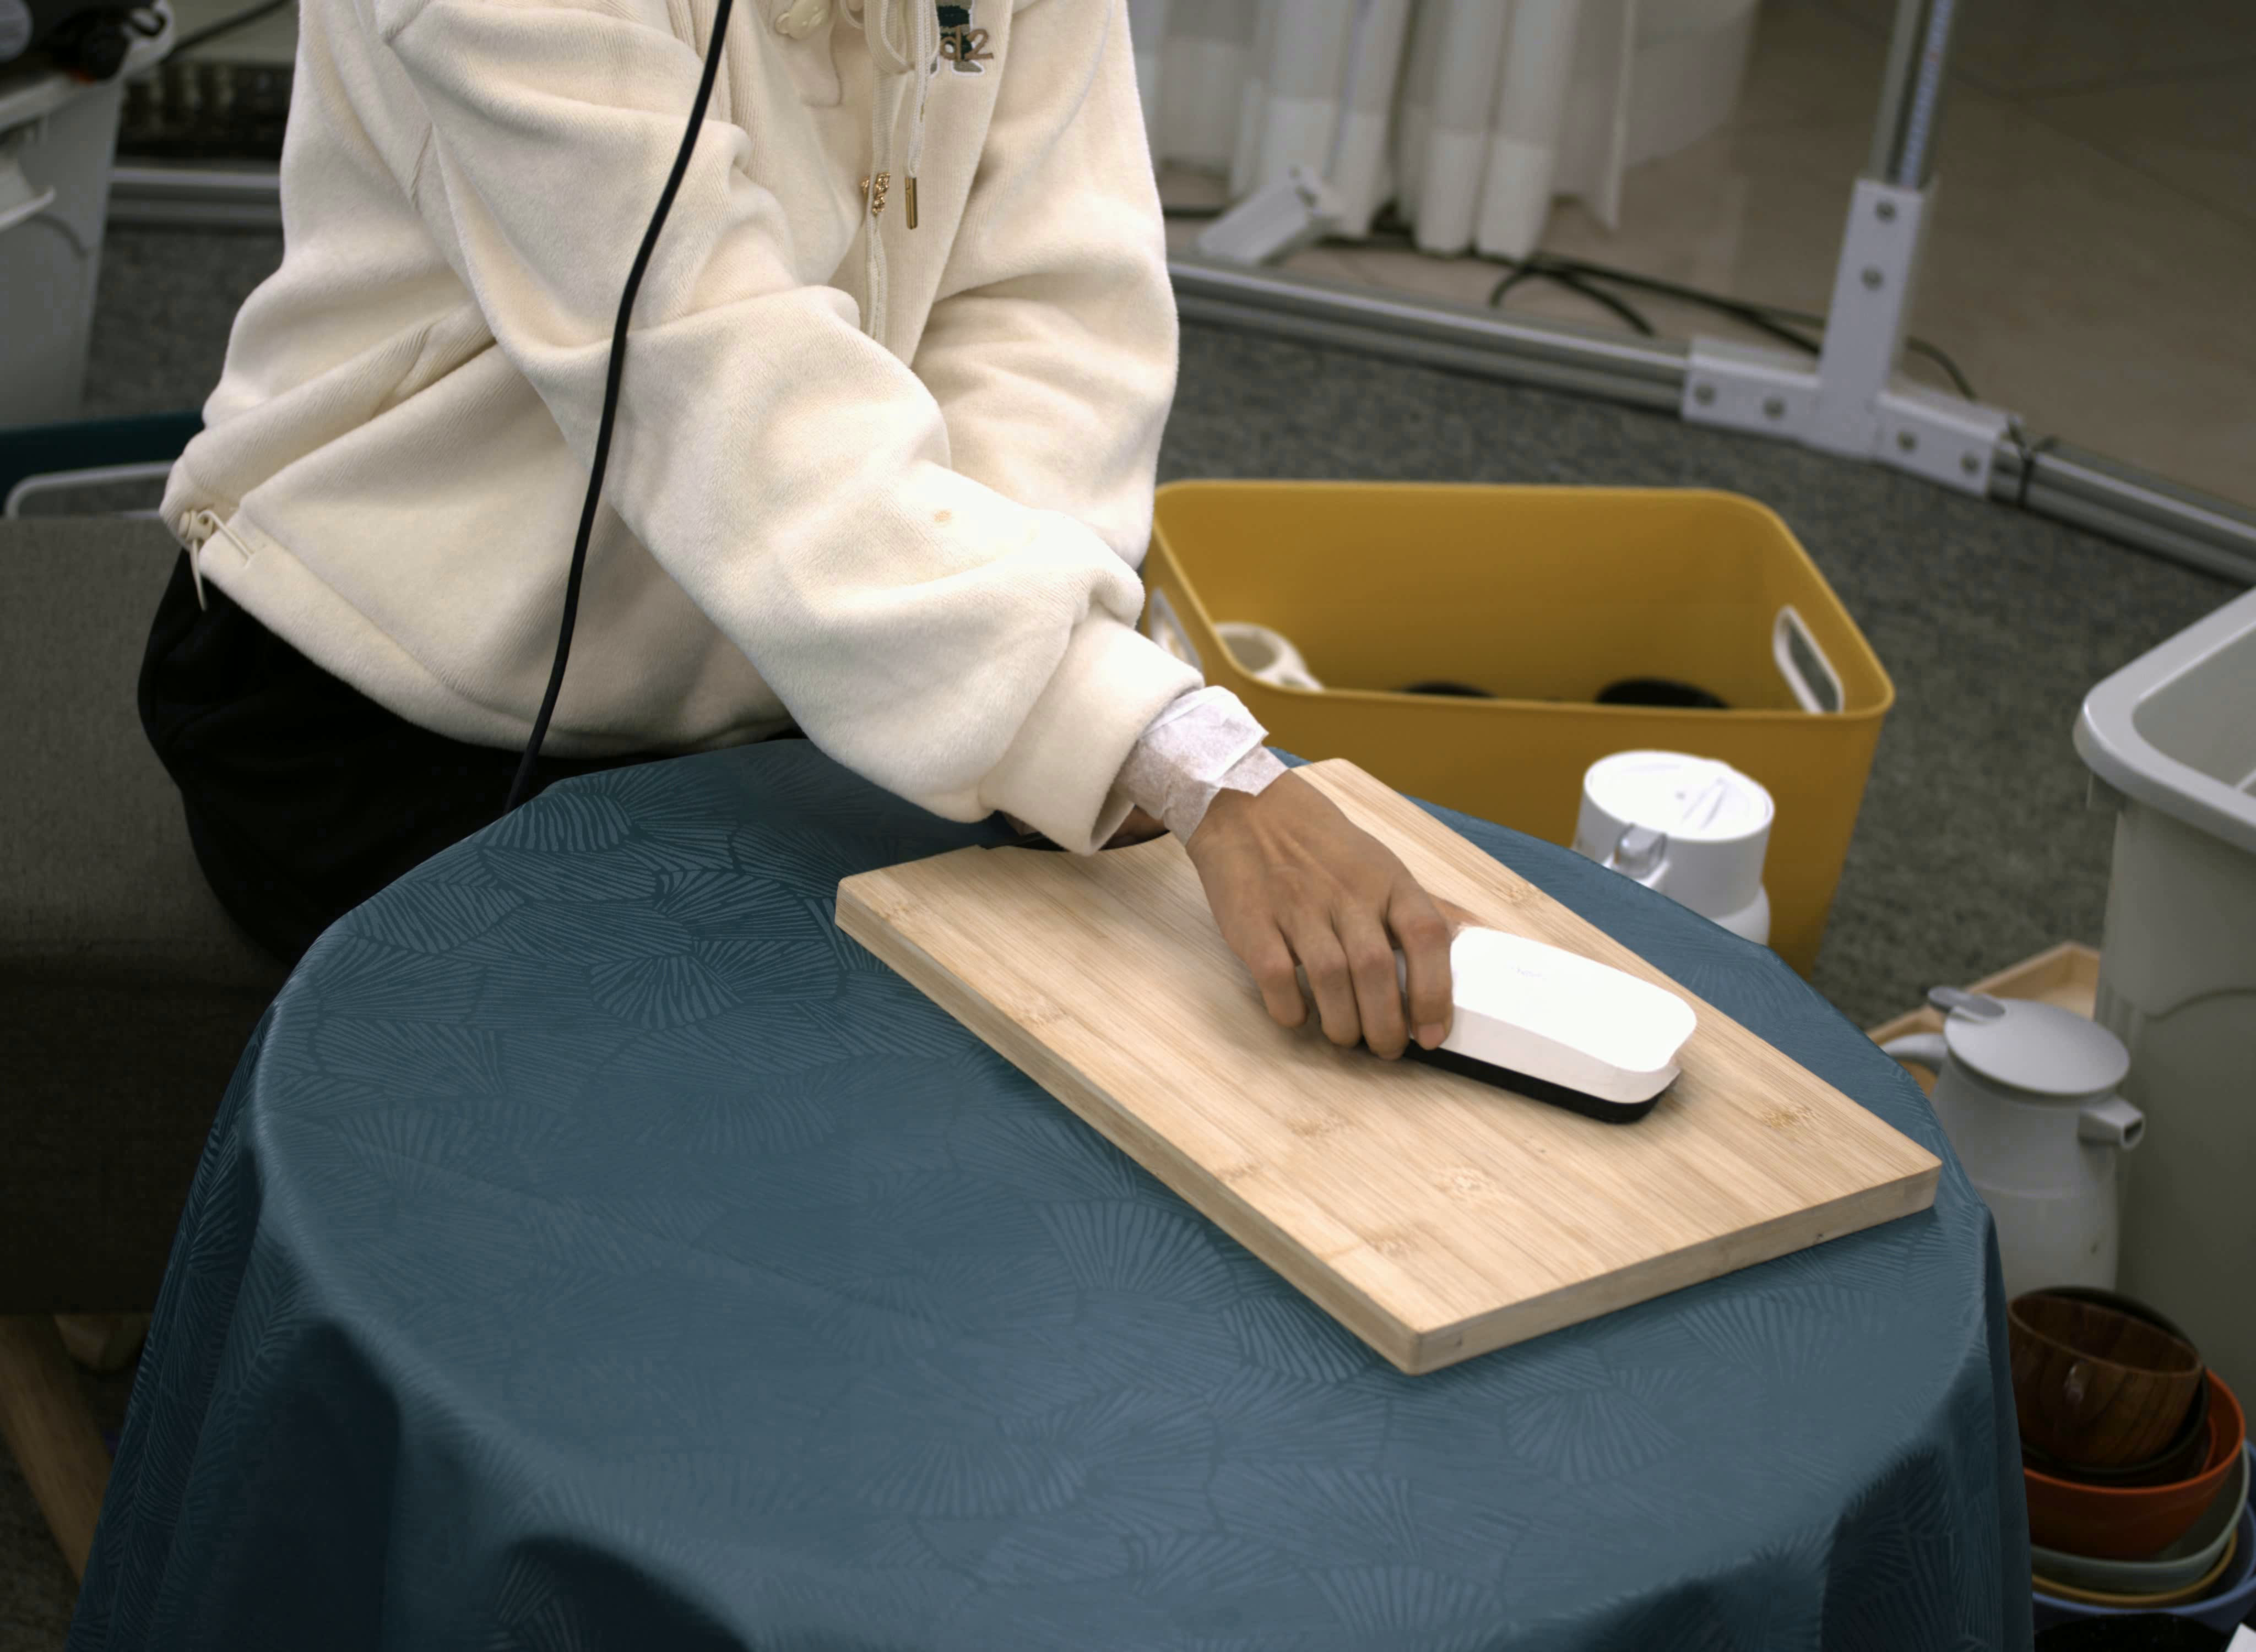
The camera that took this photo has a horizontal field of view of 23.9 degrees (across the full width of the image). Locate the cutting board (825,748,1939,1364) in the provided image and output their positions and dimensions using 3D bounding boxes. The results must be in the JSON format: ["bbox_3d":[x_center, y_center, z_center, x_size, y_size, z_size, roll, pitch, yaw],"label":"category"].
[{"bbox_3d":[0.084,0.074,1.901,0.249,0.023,0.351,-14,33,-35],"label":"cutting board"}]

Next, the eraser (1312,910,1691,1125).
[{"bbox_3d":[0.131,0.064,1.875,0.132,0.034,0.063,19,29,21],"label":"eraser"}]
